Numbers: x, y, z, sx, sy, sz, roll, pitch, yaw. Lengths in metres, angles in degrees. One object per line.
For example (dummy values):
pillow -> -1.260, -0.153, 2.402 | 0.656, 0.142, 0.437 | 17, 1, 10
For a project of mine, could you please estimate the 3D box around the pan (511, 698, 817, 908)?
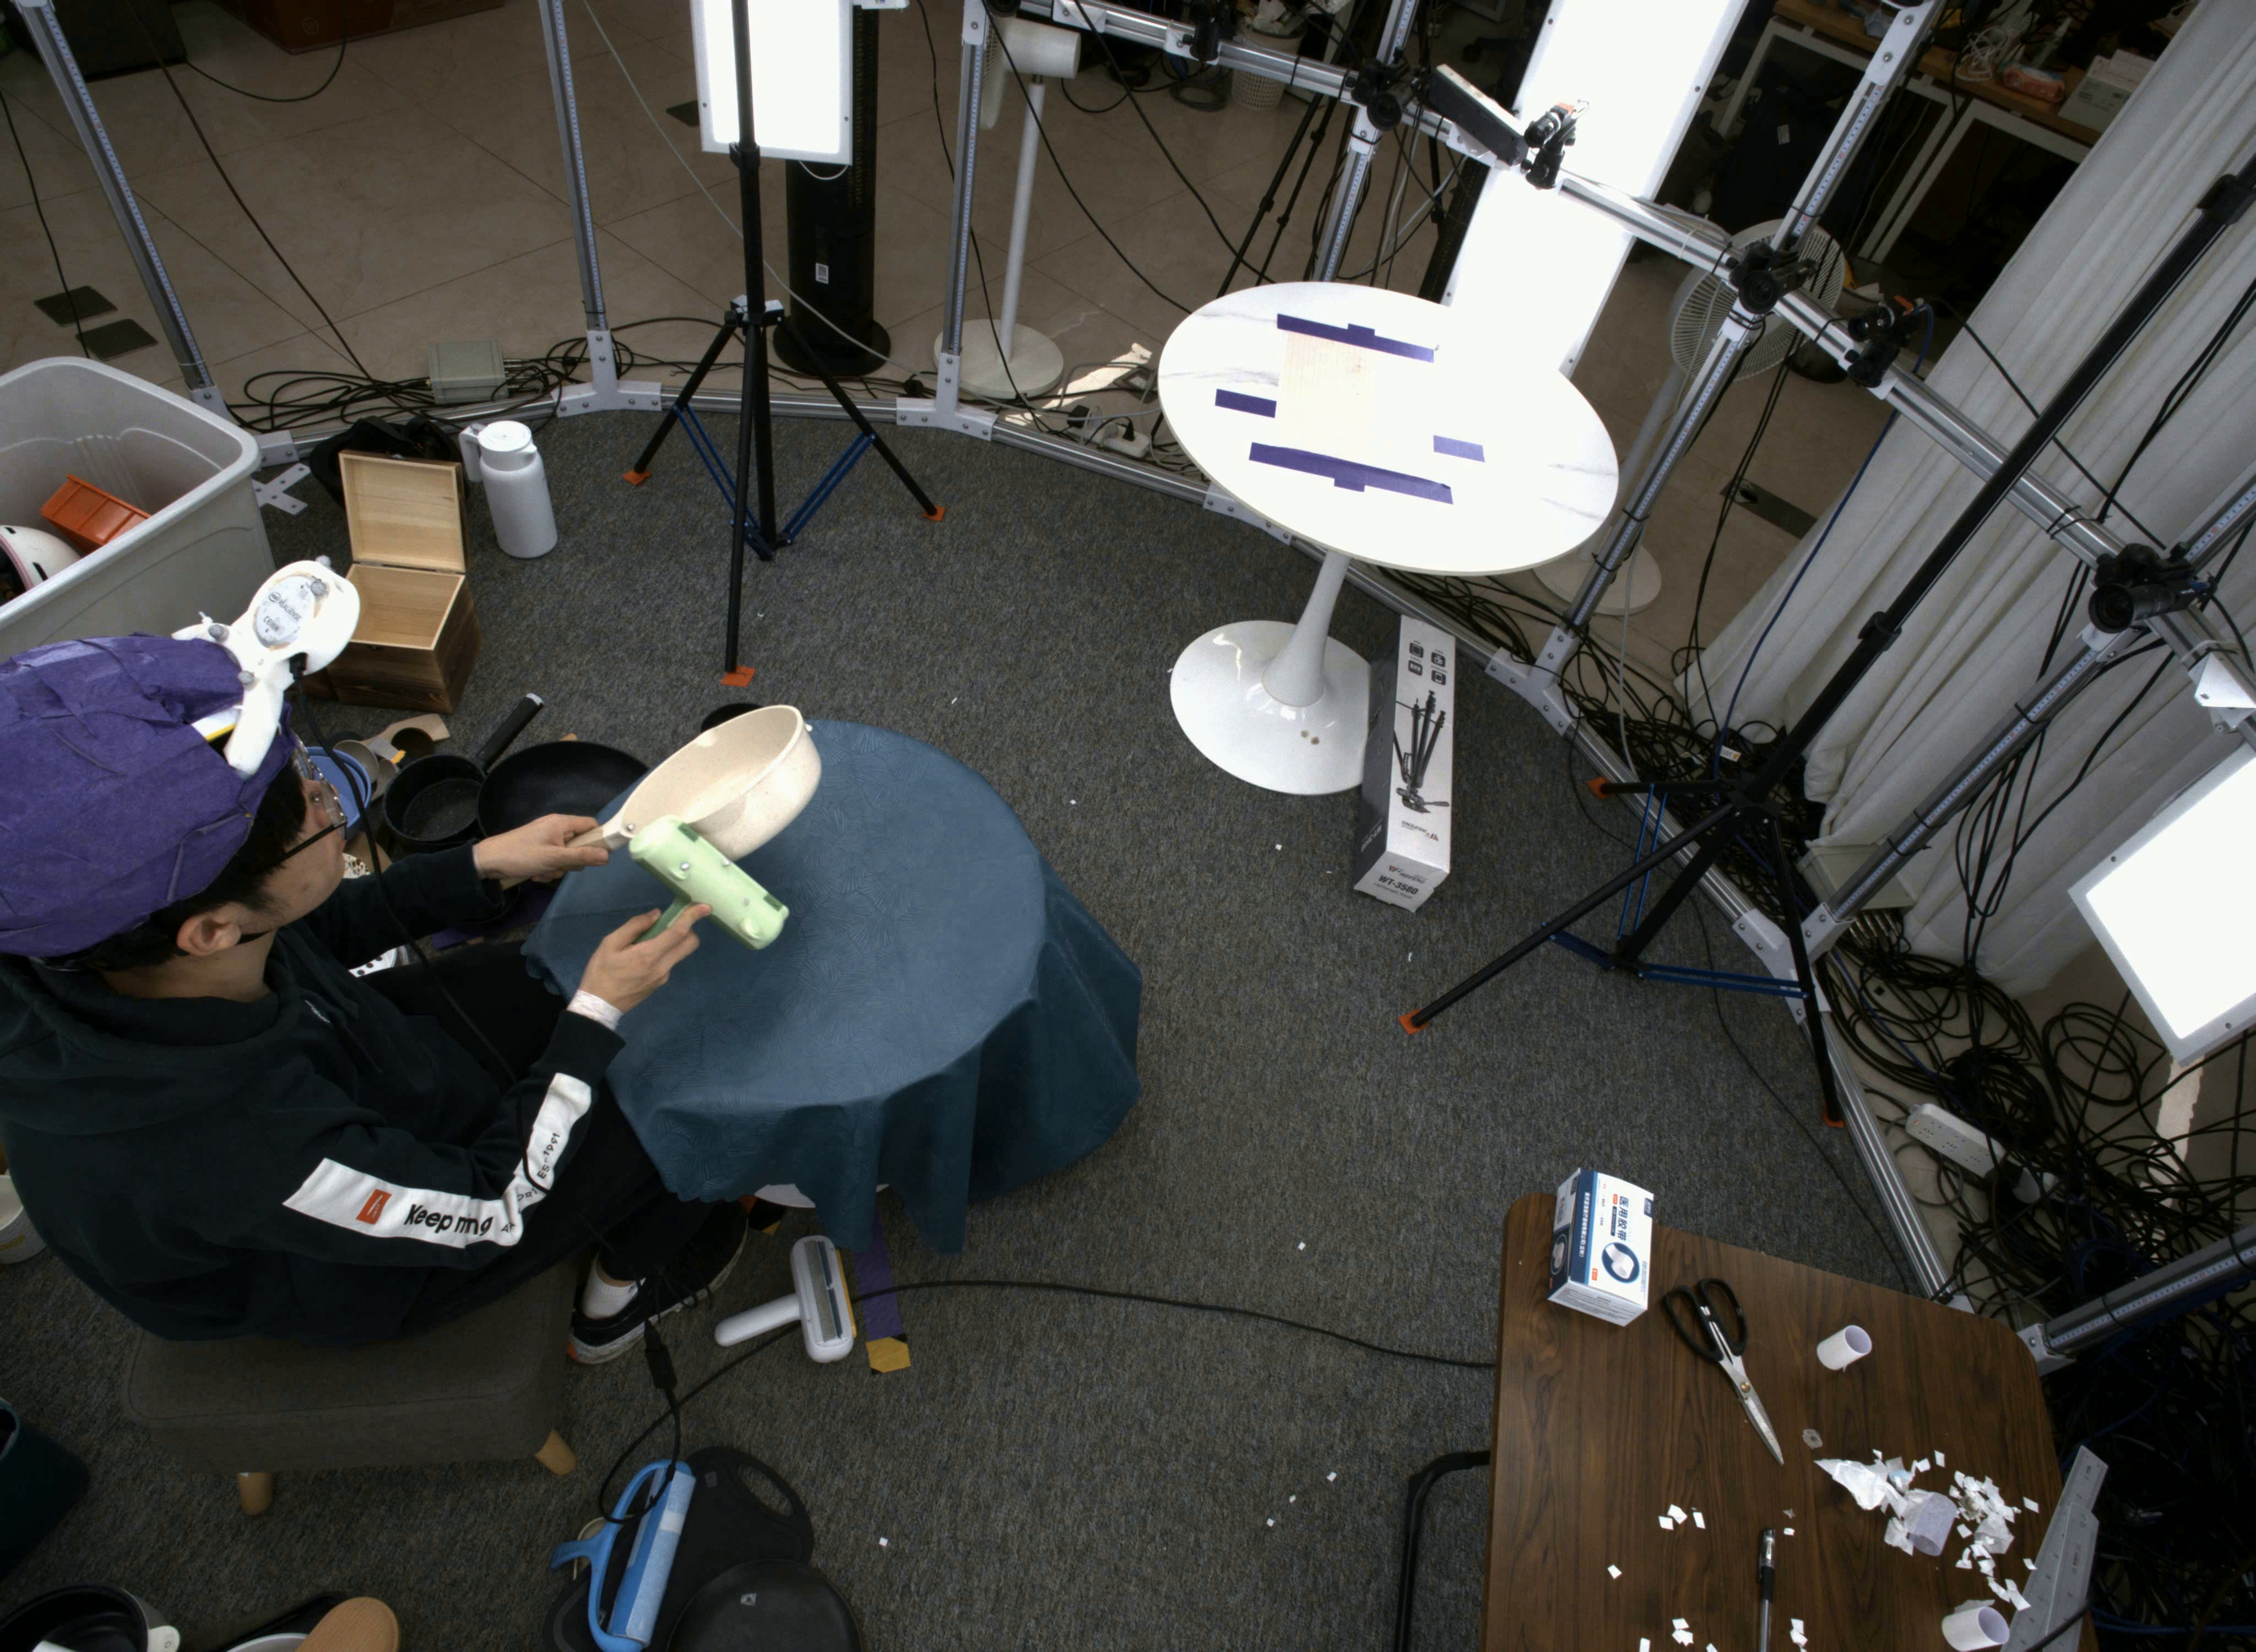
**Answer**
pan -> -0.564, 0.000, 1.531 | 0.433, 0.106, 0.254 | -32, 34, -5

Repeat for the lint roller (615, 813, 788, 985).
lint roller -> -0.498, 0.109, 1.427 | 0.079, 0.206, 0.183 | 24, 71, 47
